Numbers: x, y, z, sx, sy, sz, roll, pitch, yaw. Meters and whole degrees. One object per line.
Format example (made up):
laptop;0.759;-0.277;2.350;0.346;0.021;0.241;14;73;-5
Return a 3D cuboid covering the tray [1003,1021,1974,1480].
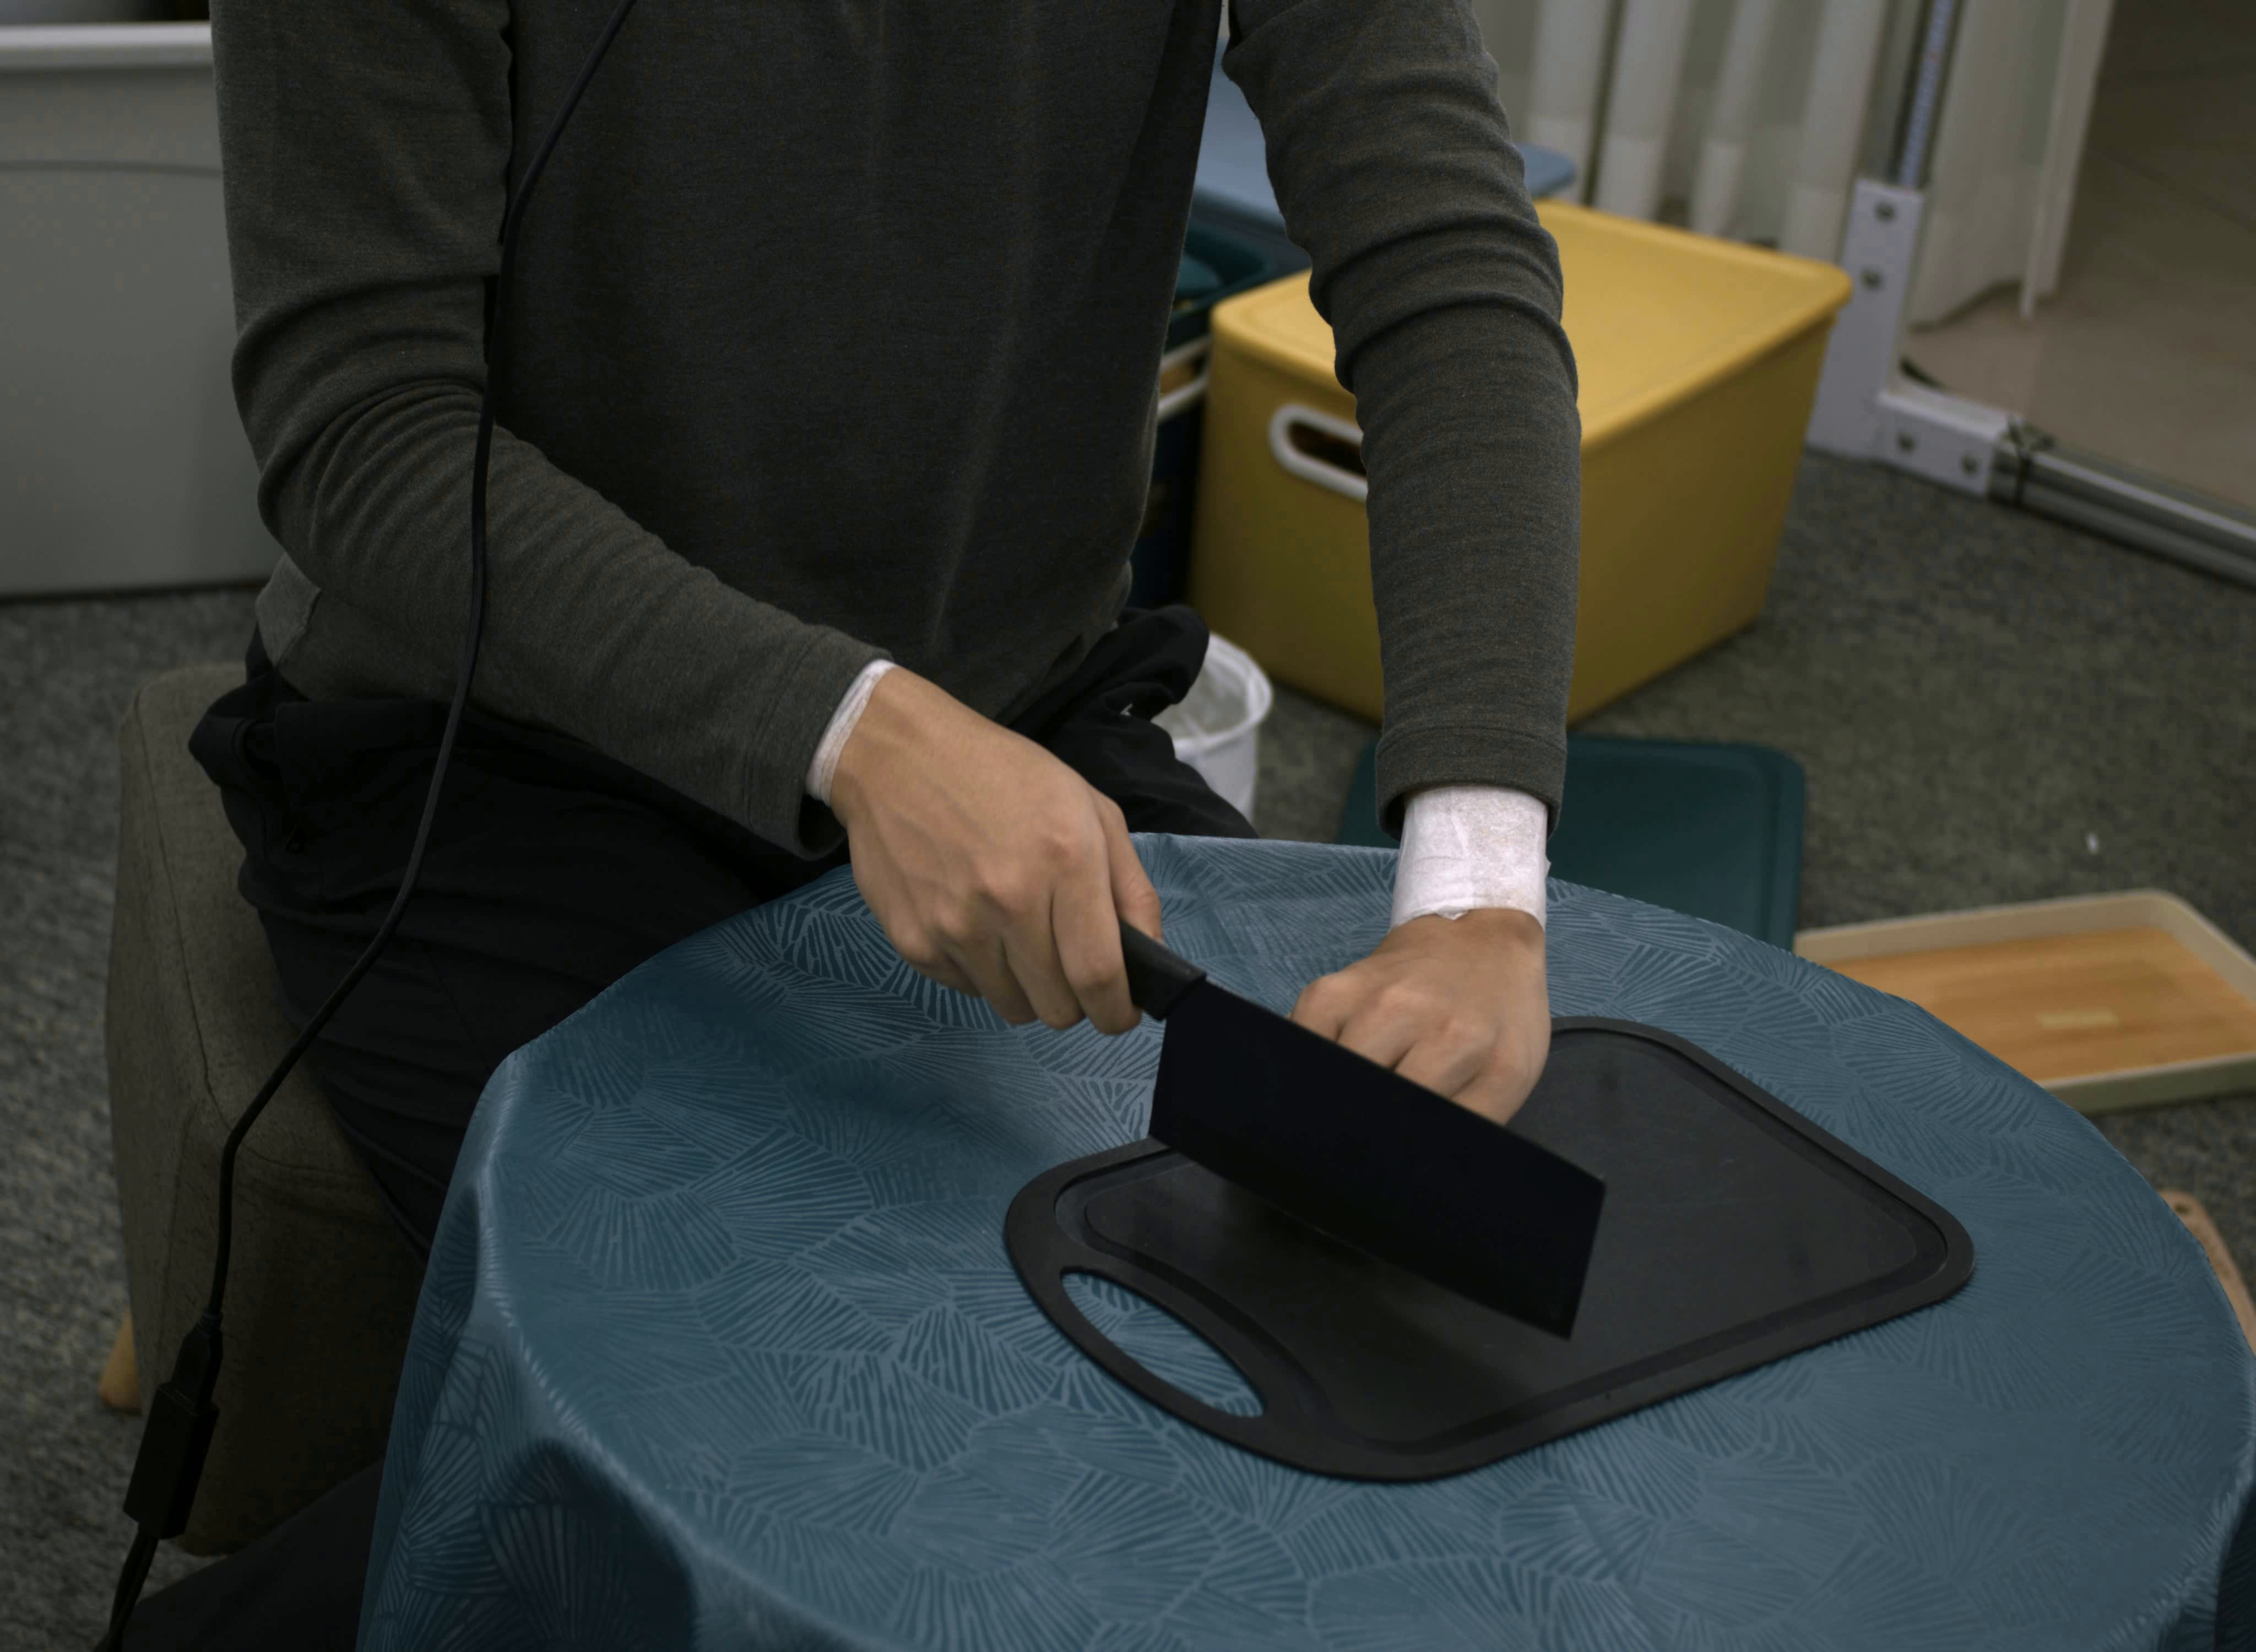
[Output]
tray;0.118;0.139;1.796;0.323;0.010;0.213;-14;32;-35

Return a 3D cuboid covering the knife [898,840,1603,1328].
knife;0.036;0.080;1.782;0.304;0.081;0.021;30;28;32
